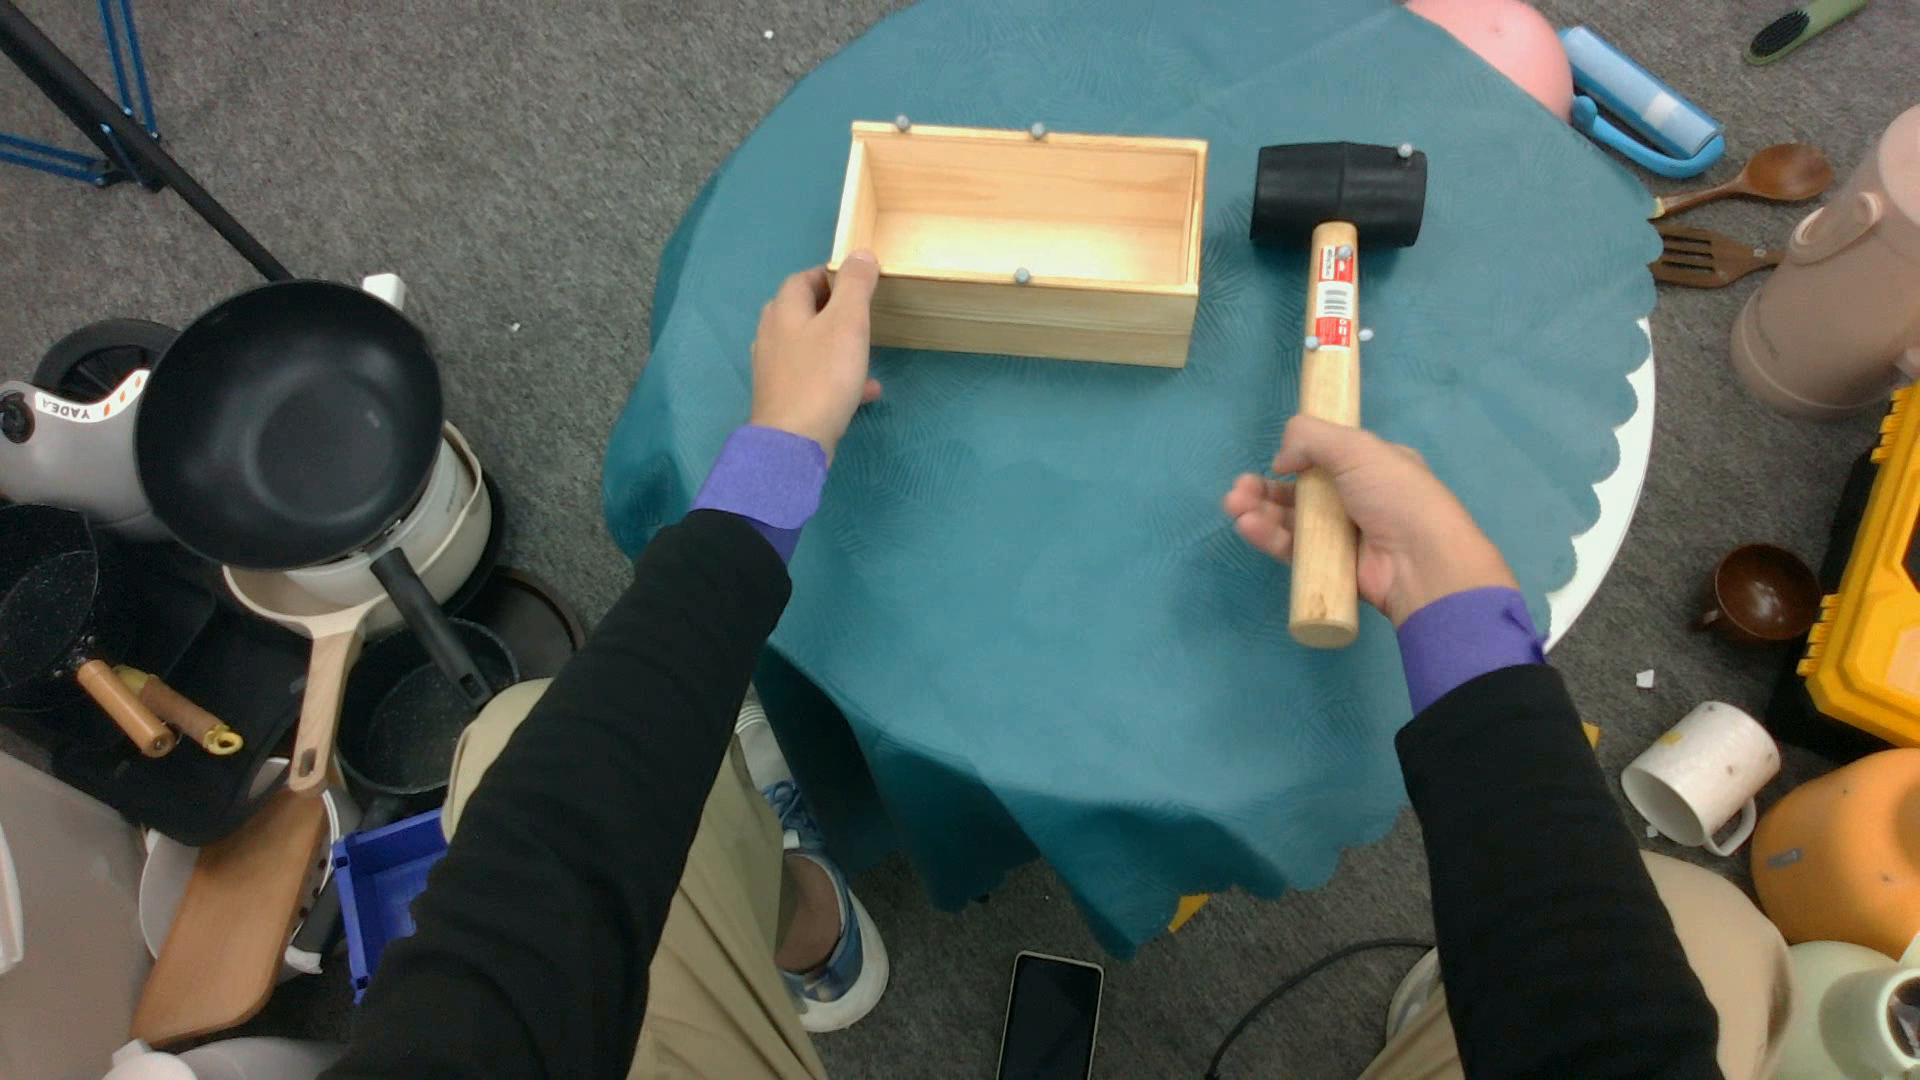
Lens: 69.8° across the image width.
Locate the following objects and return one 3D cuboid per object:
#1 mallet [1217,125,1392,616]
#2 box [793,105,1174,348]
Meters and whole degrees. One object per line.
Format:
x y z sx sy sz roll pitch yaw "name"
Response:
0.187 -0.112 0.758 0.102 0.064 0.340 4 52 11 "mallet"
0.017 -0.187 0.826 0.211 0.080 0.108 4 68 4 "box"
